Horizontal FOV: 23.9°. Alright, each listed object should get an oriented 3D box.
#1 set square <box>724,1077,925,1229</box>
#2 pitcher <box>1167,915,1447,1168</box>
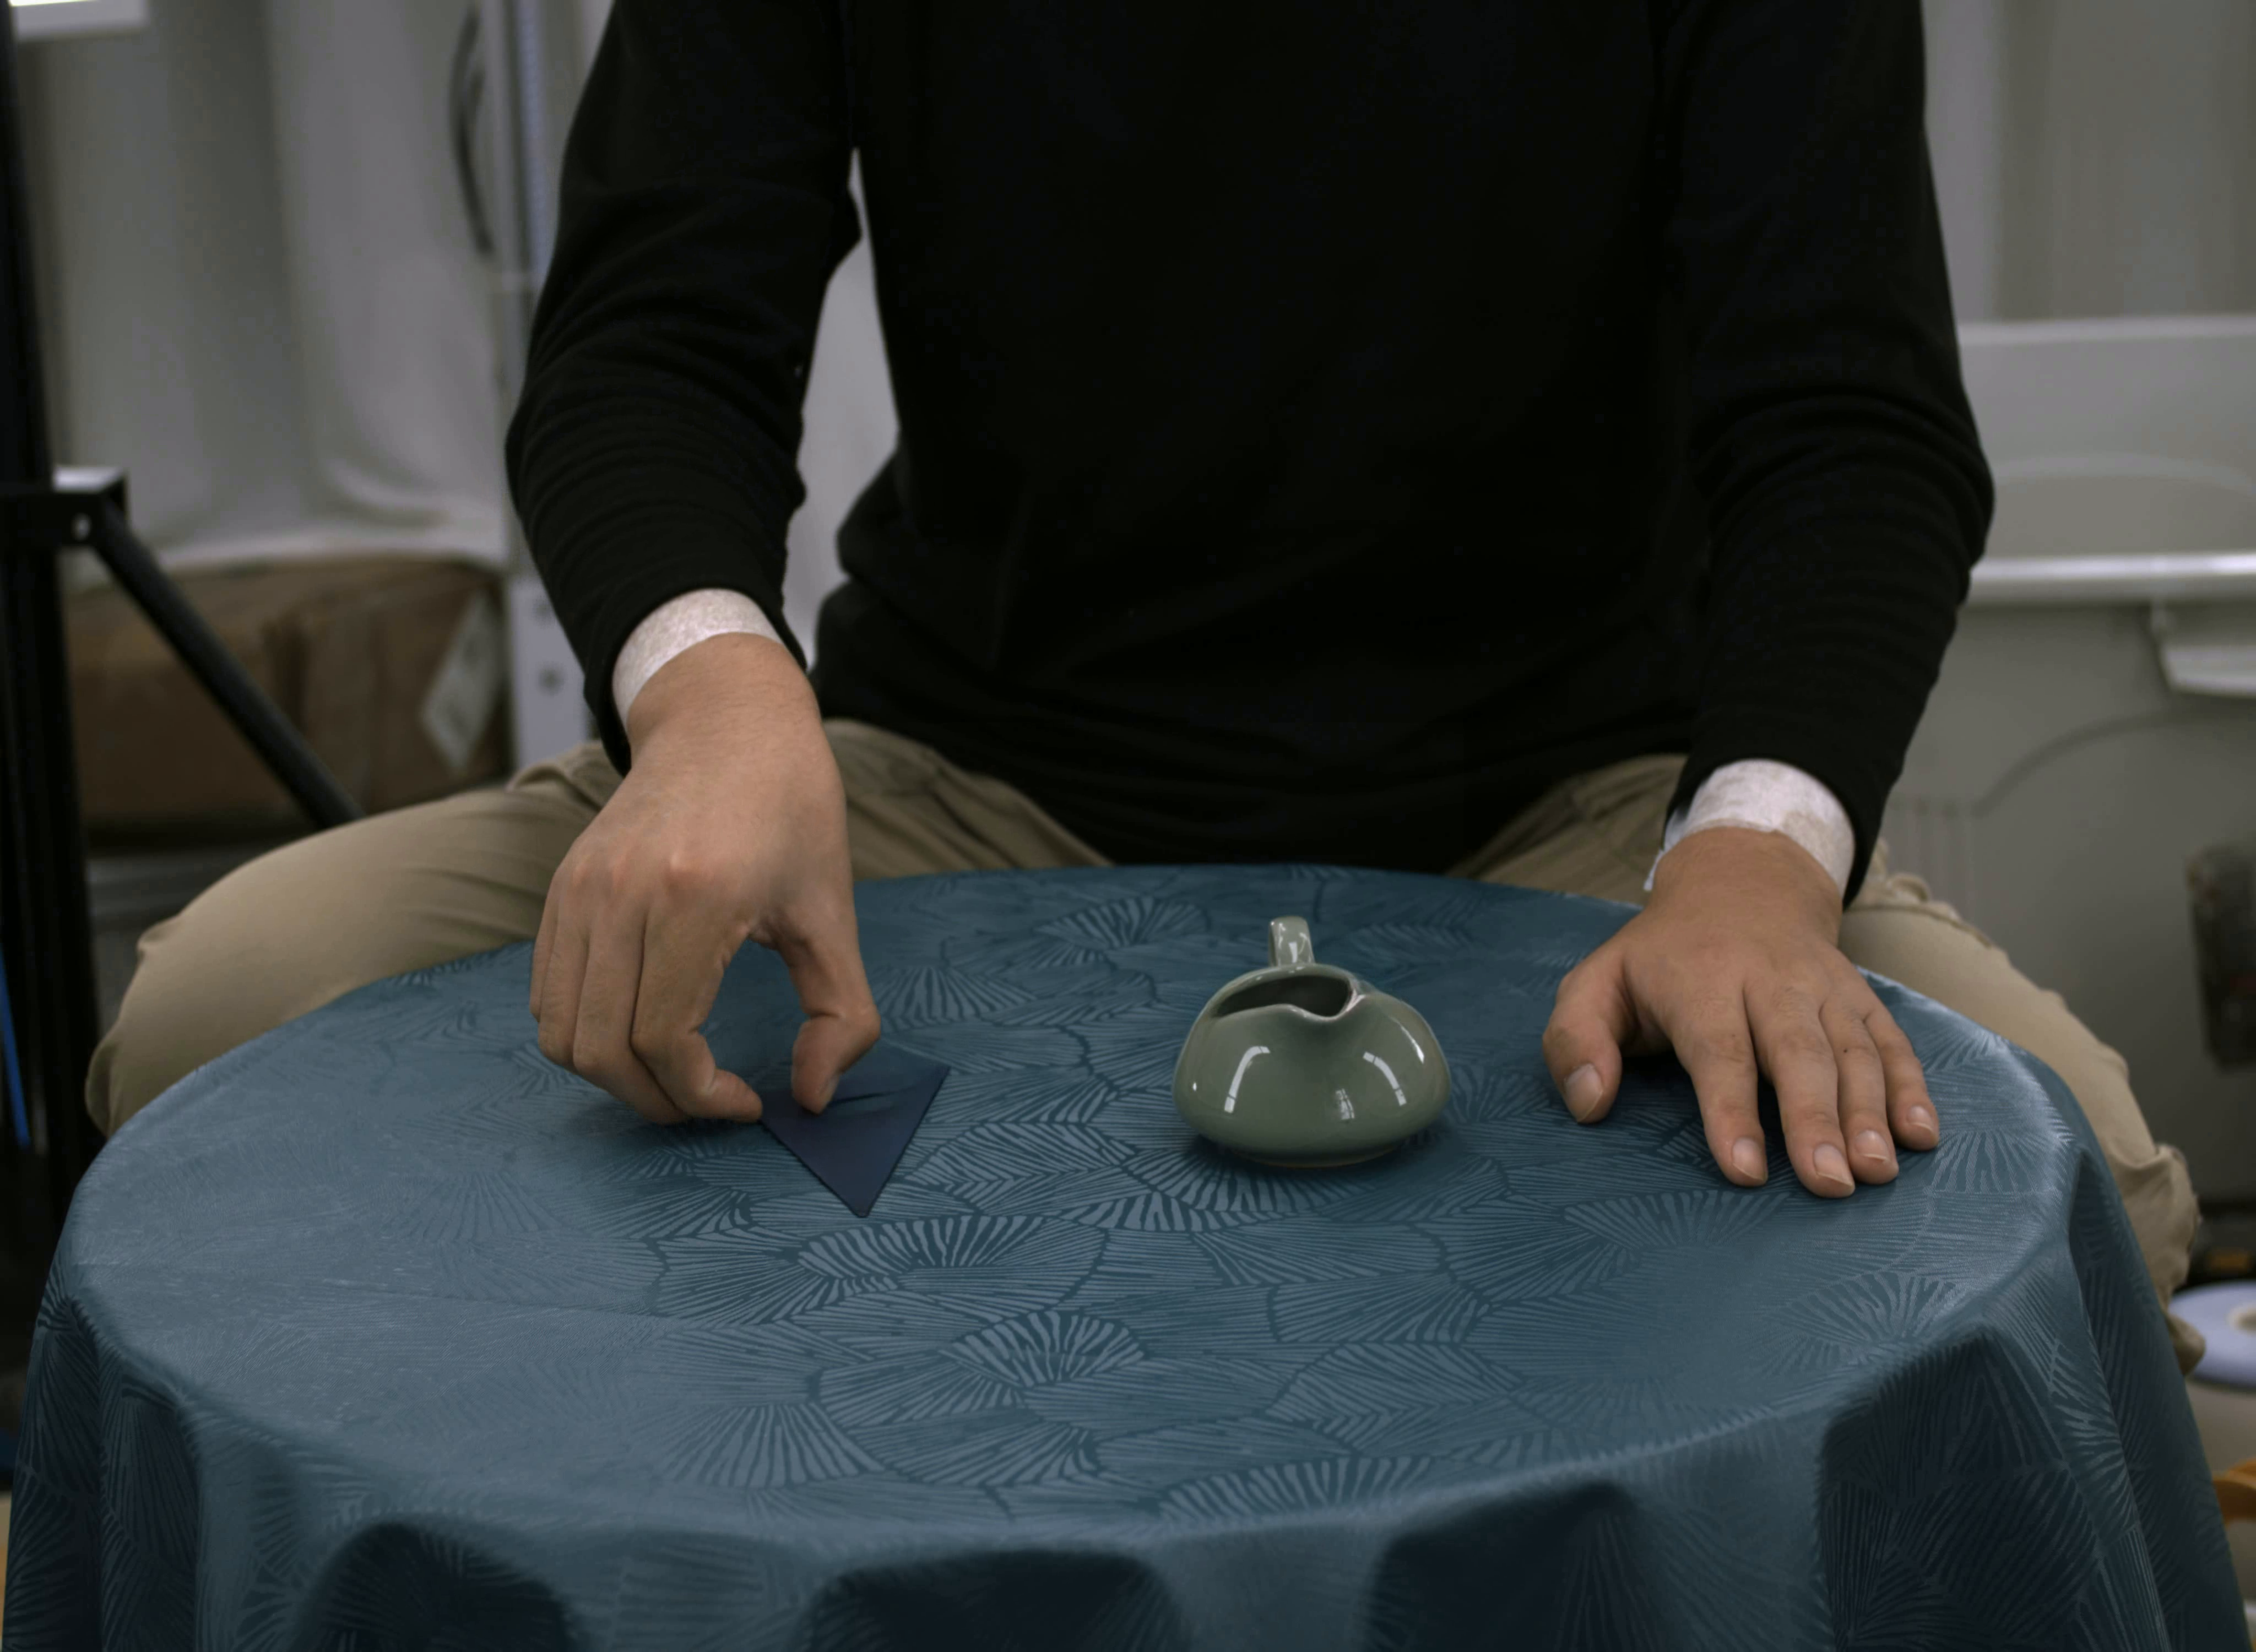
[{"bbox_3d":[-0.103,0.096,1.609,0.061,0.006,0.131,3,17,12],"label":"set square"},{"bbox_3d":[0.053,0.066,1.595,0.083,0.056,0.113,-1,15,-5],"label":"pitcher"}]
